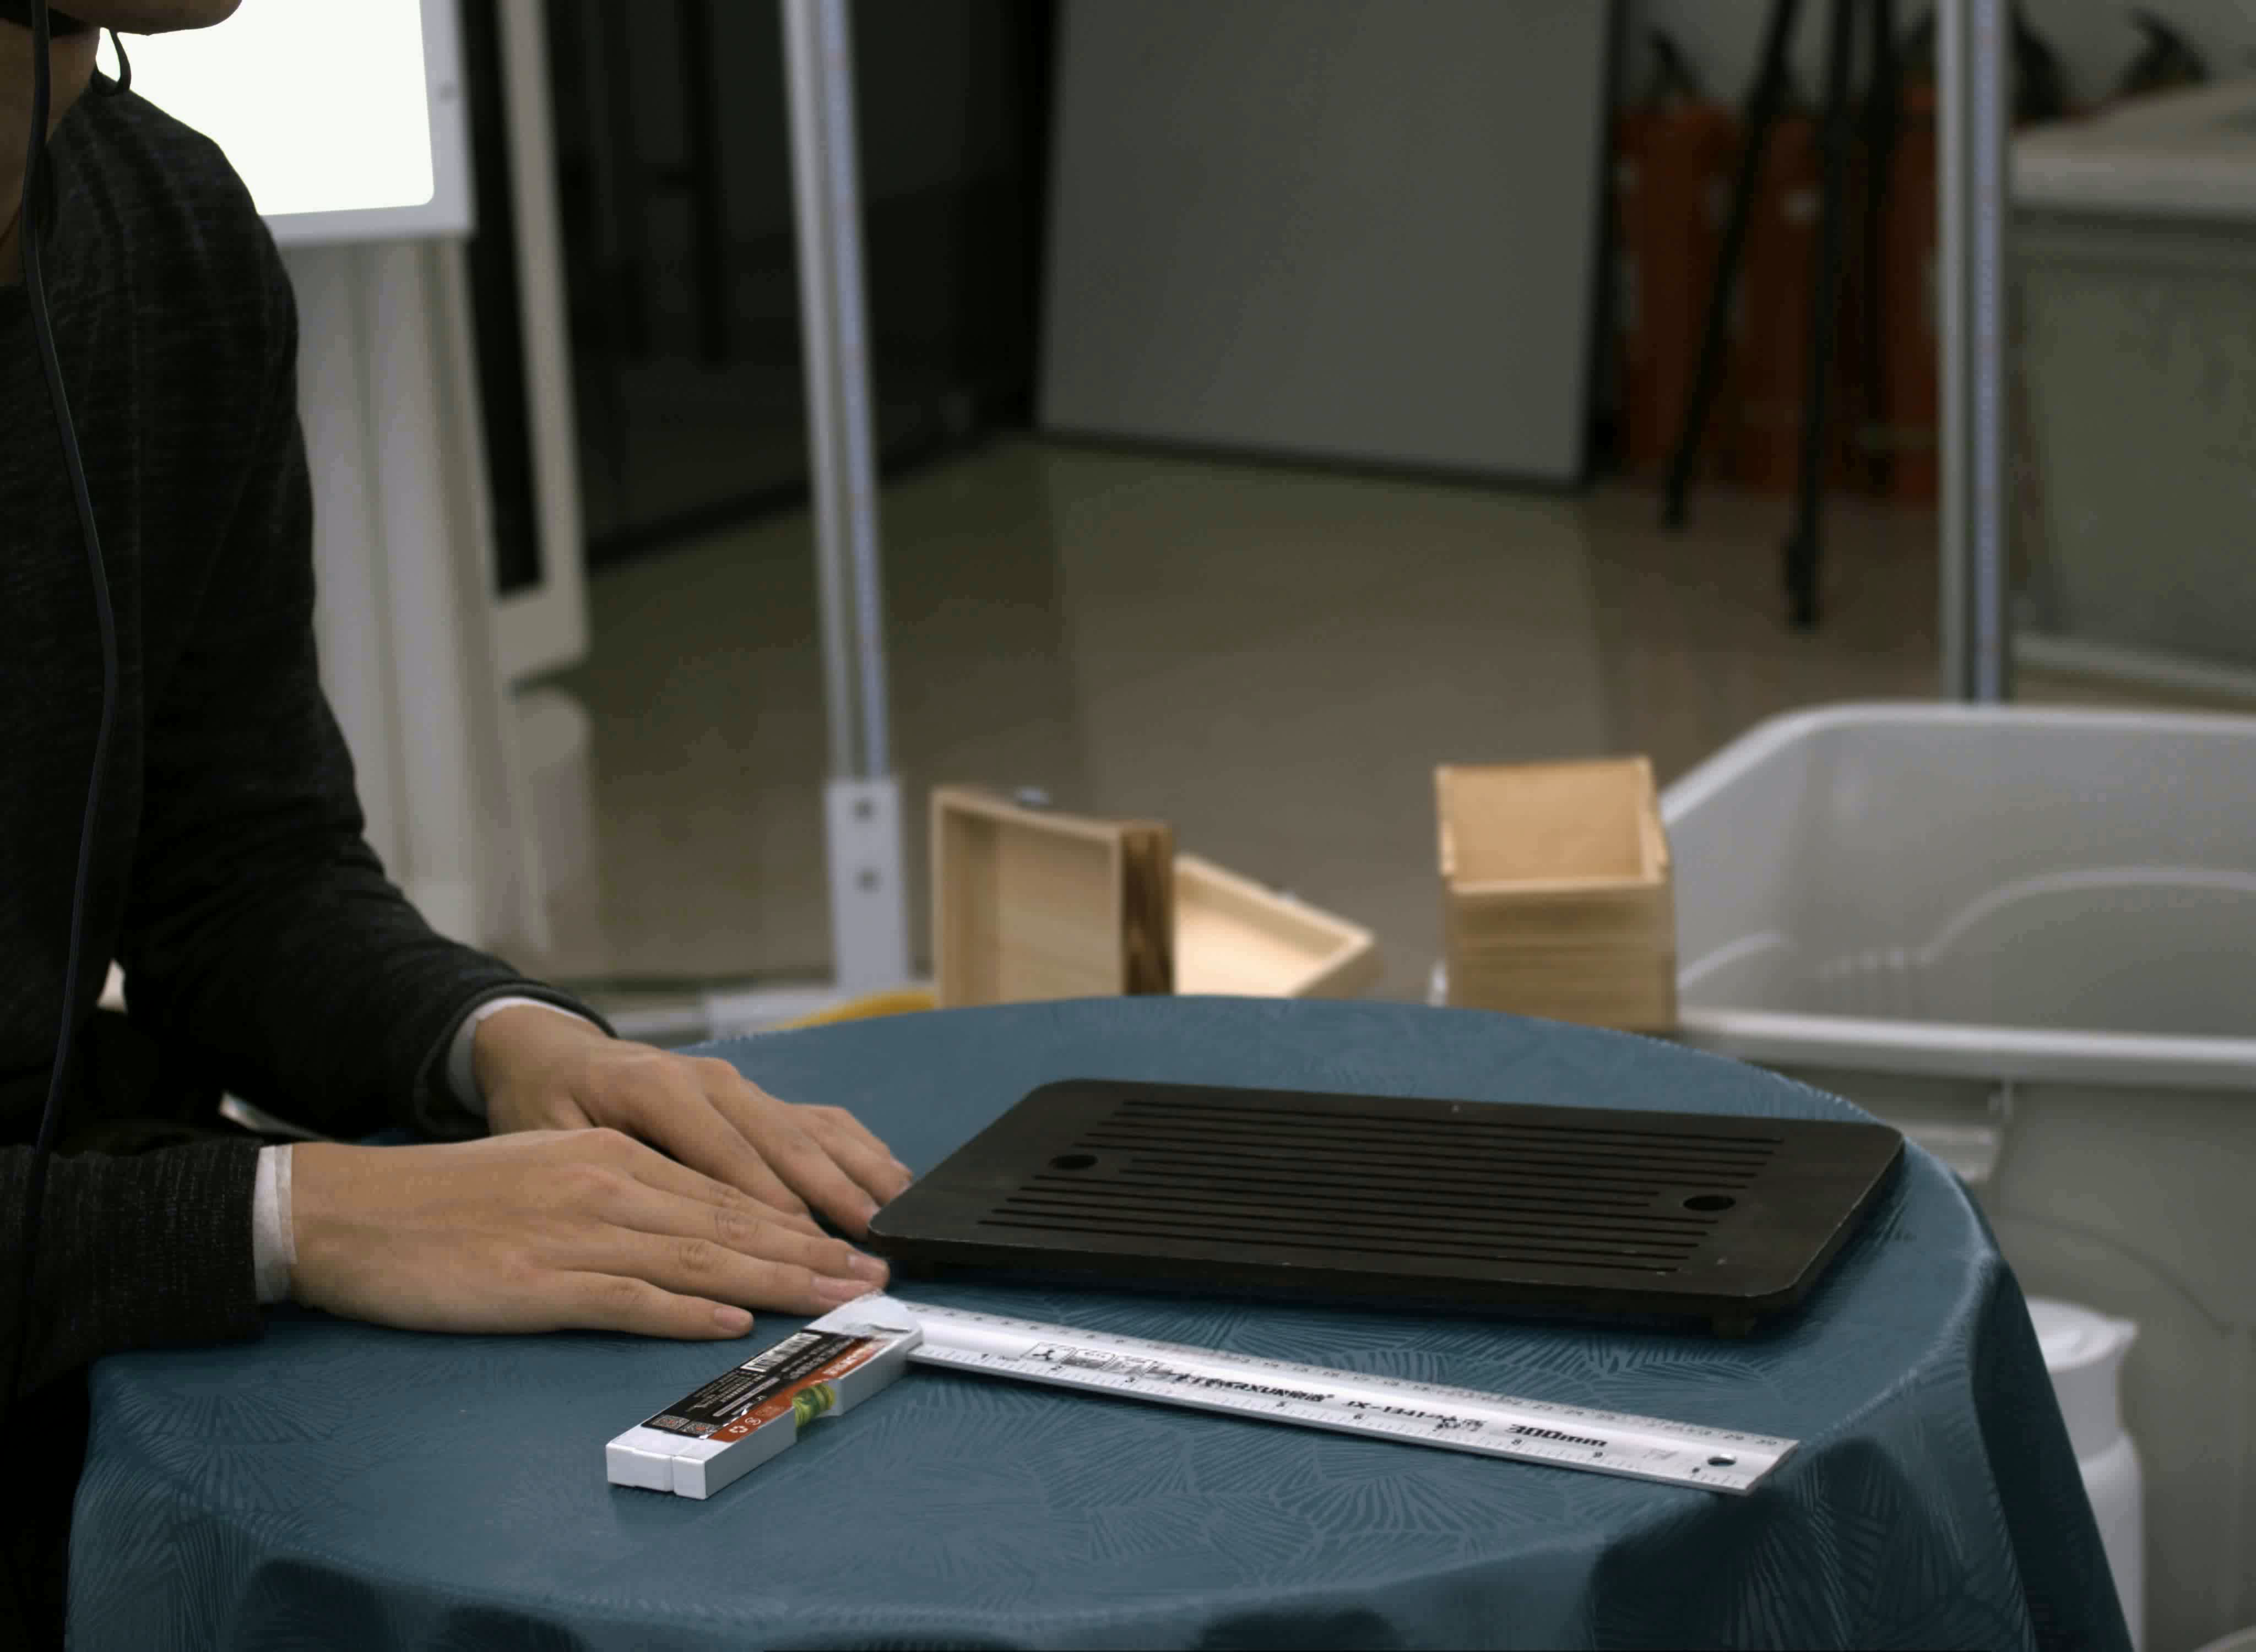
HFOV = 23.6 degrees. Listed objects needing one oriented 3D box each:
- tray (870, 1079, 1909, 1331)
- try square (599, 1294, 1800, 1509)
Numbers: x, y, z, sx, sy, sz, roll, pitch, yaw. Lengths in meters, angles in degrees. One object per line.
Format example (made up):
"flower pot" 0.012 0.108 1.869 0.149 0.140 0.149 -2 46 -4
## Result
"tray" 0.085 0.119 1.715 0.306 0.019 0.168 1 15 23
"try square" 0.018 0.177 1.521 0.314 0.016 0.150 5 18 31
